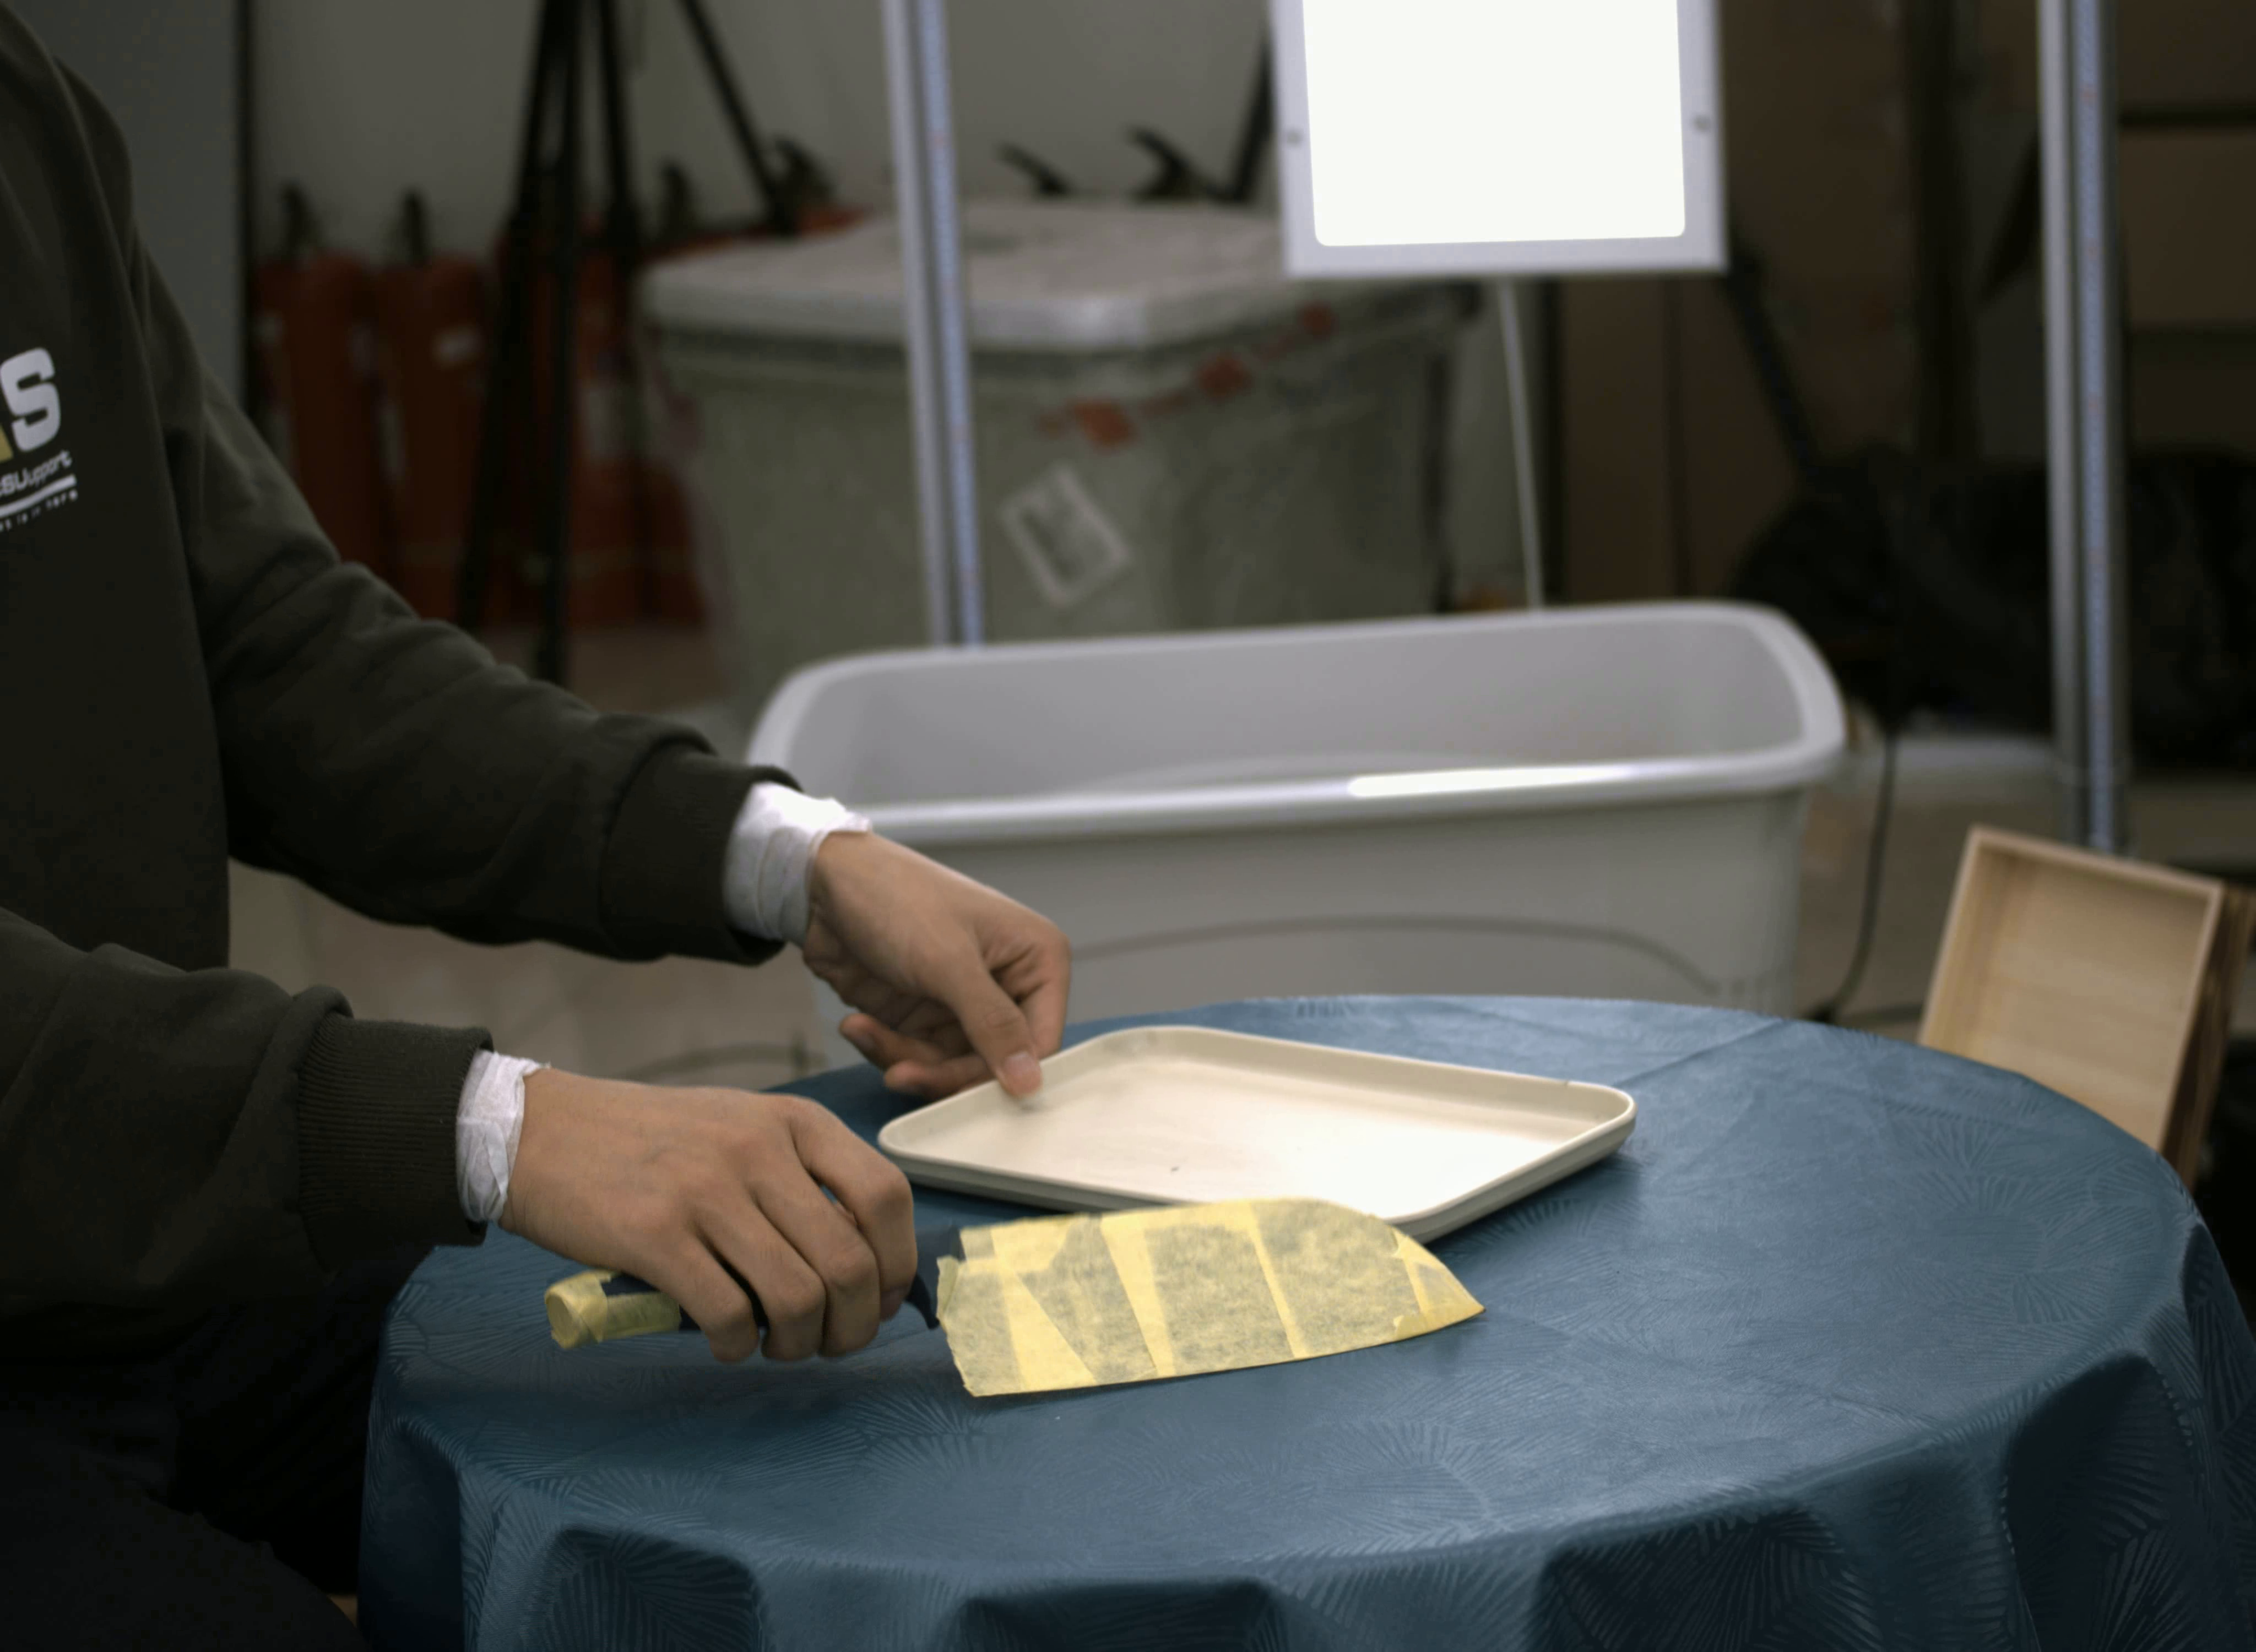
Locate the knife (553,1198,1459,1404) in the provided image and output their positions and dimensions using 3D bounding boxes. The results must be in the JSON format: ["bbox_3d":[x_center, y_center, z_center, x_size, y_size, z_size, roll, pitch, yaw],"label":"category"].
[{"bbox_3d":[-0.035,0.152,1.728,0.286,0.027,0.081,-5,37,-9],"label":"knife"}]

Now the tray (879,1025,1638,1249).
[{"bbox_3d":[0.045,0.109,1.920,0.245,0.017,0.167,6,18,40],"label":"tray"}]
